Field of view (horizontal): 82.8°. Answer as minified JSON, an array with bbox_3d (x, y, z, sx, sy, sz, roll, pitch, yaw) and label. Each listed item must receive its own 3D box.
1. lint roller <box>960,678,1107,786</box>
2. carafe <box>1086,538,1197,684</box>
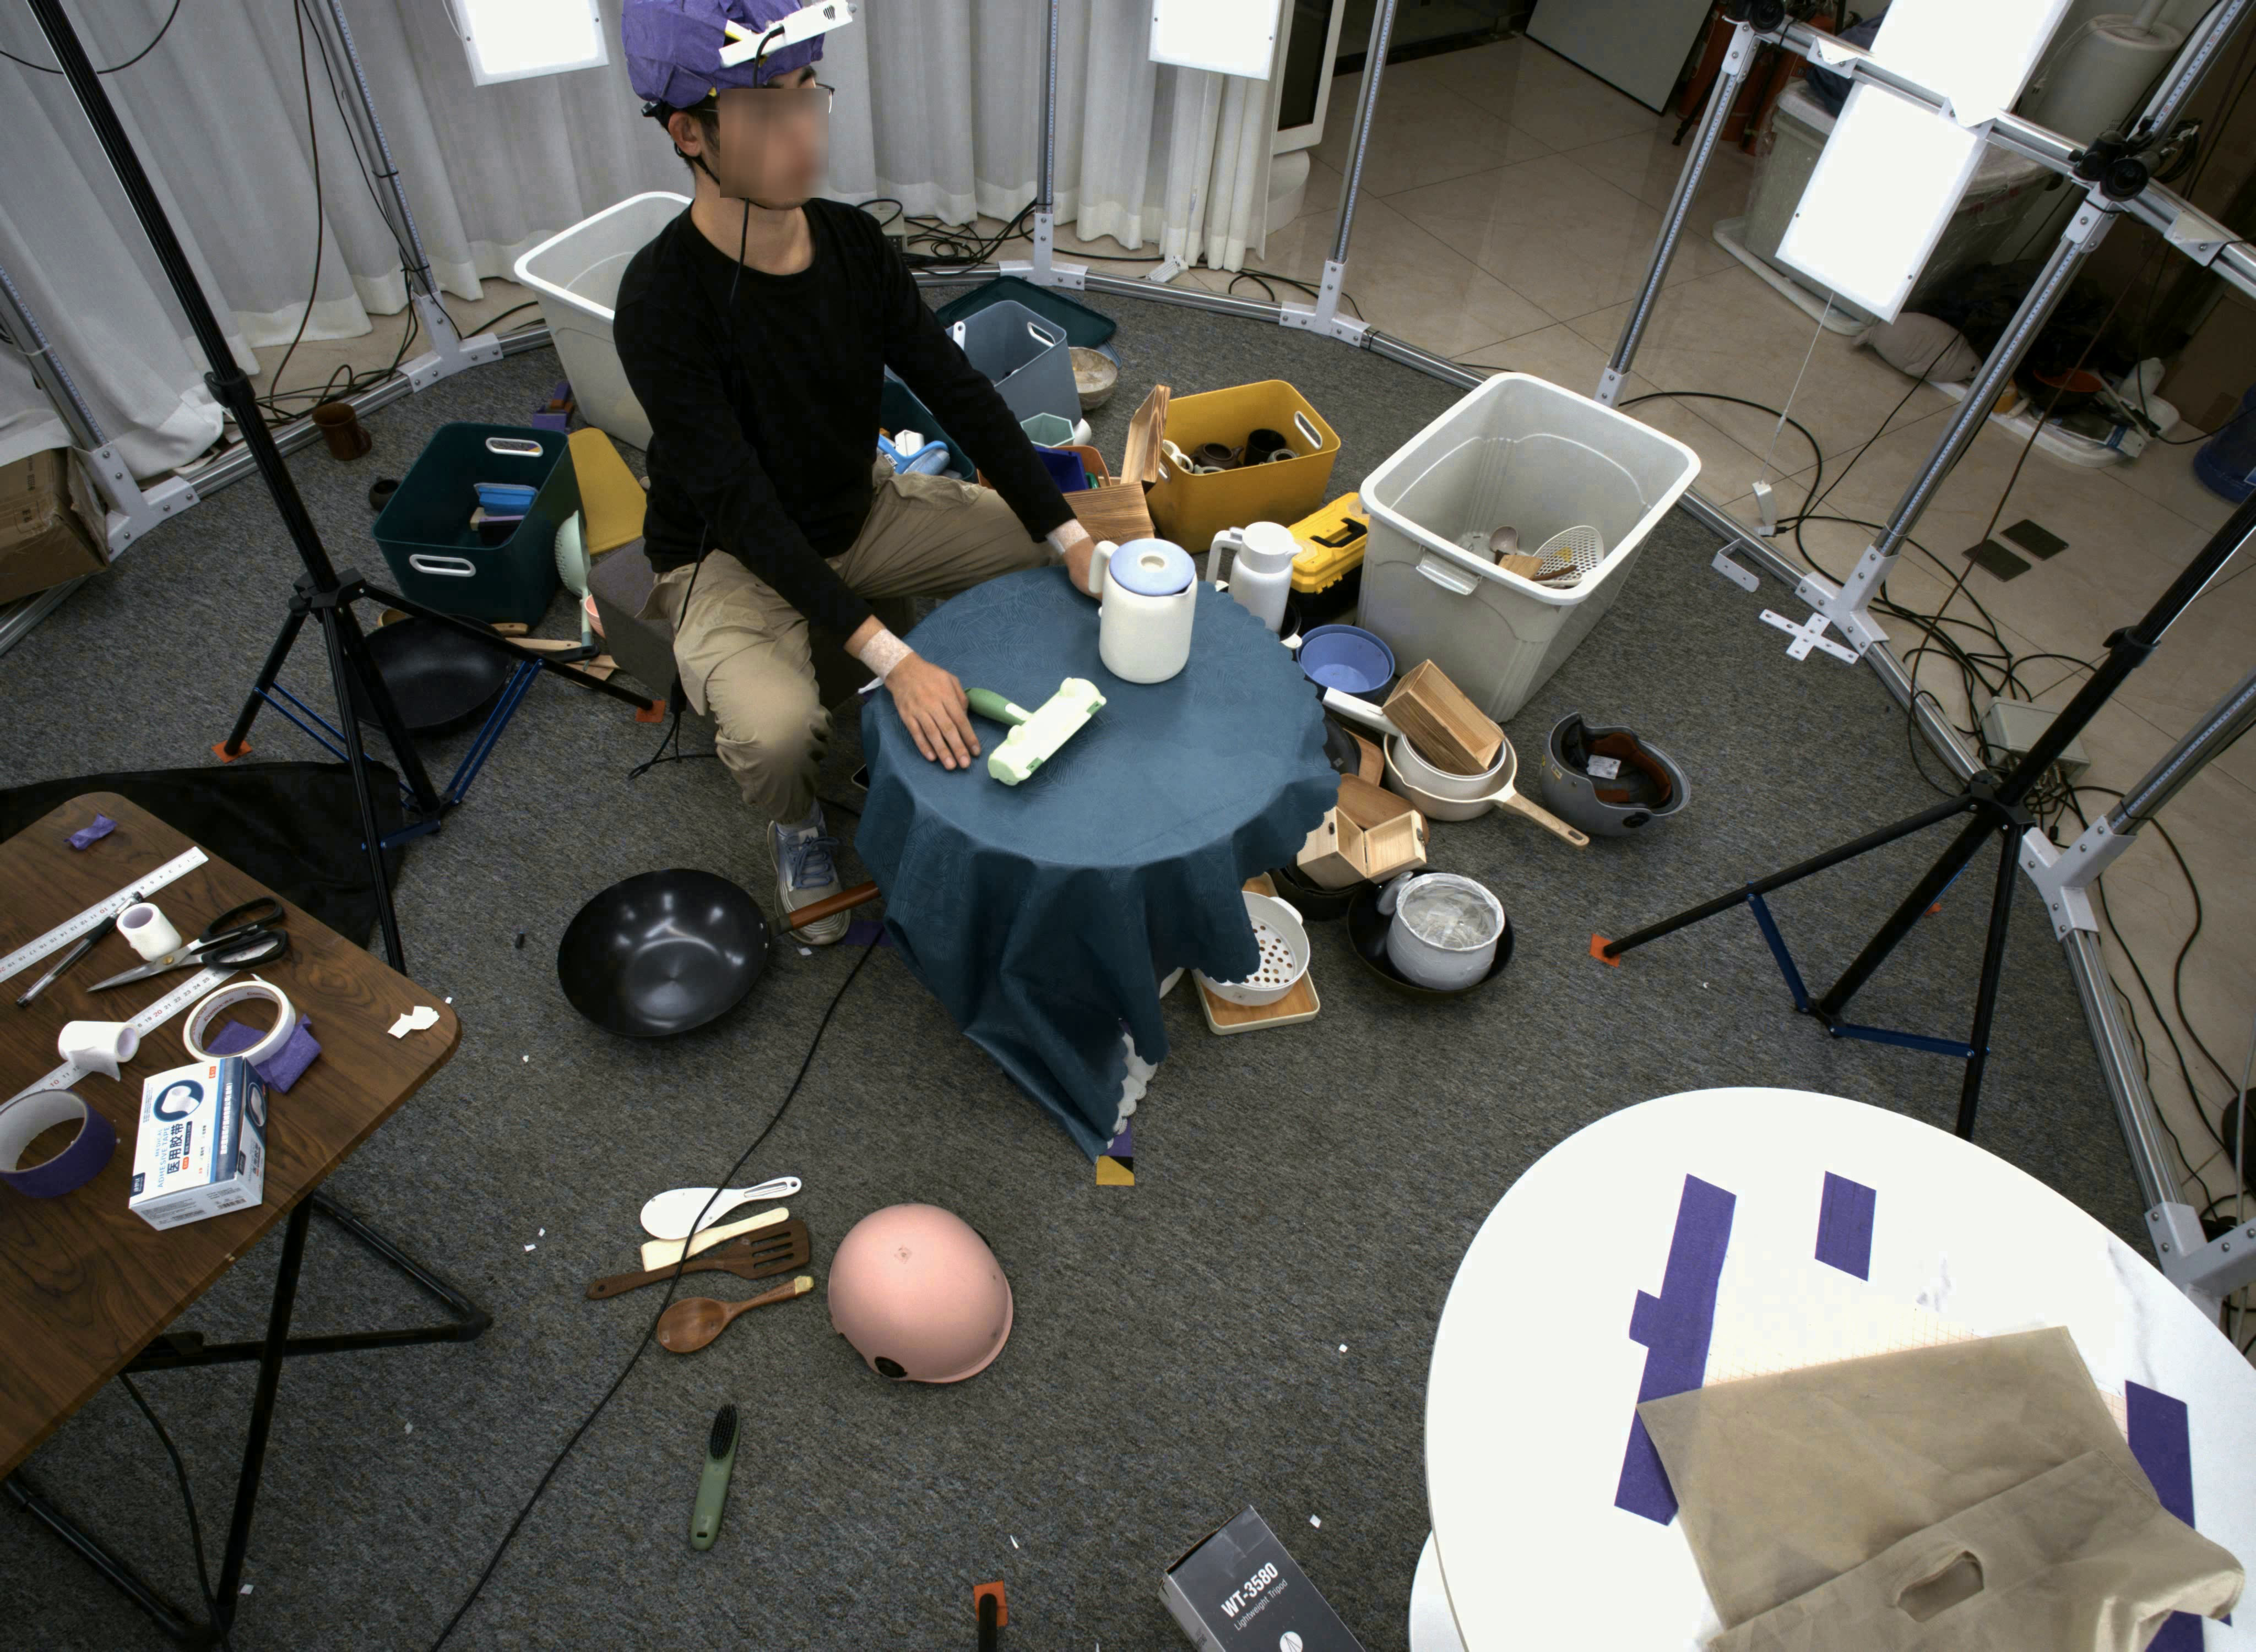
[{"bbox_3d":[-0.155,-0.161,1.750,0.185,0.080,0.201,31,53,18],"label":"lint roller"},{"bbox_3d":[0.011,-0.319,1.836,0.133,0.178,0.194,-35,58,-30],"label":"carafe"}]
